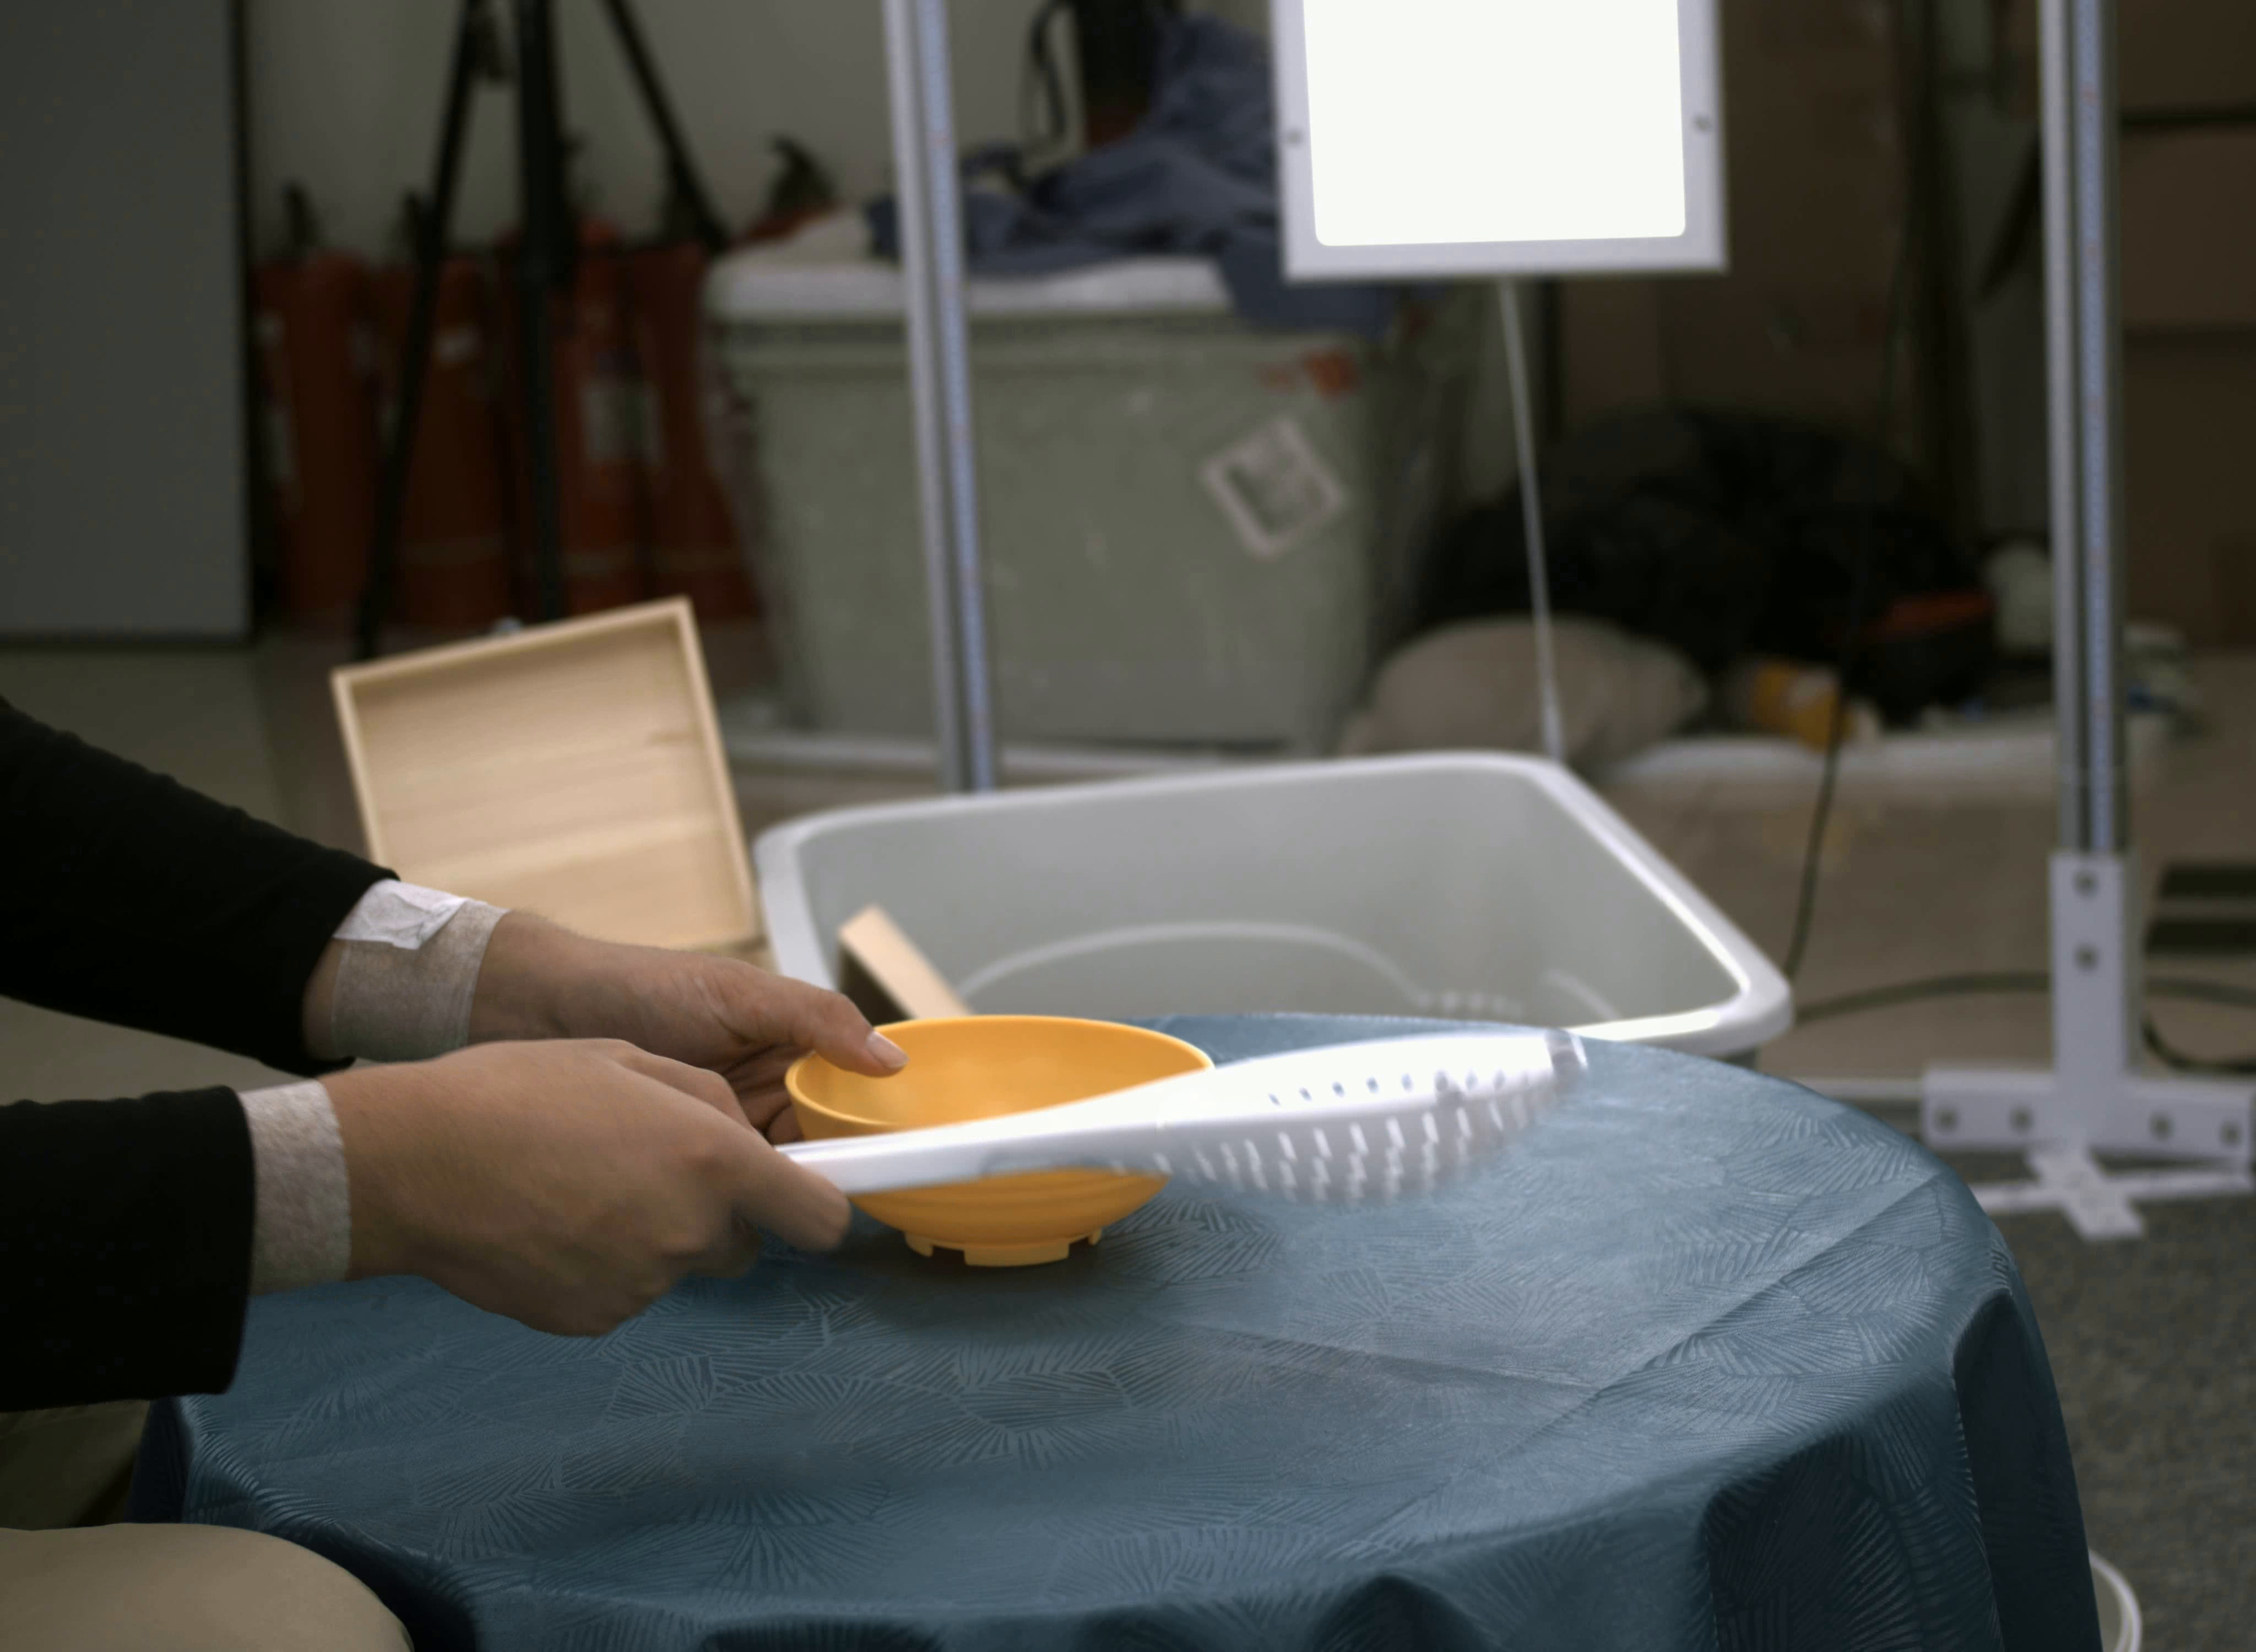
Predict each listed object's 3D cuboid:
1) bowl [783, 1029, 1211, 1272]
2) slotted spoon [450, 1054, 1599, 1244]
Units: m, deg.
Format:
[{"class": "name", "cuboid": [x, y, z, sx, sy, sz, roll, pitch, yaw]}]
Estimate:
[{"class": "bowl", "cuboid": [-0.044, 0.112, 1.848, 0.145, 0.060, 0.145, -1, 12, -1]}, {"class": "slotted spoon", "cuboid": [-0.030, 0.100, 1.669, 0.347, 0.046, 0.136, -1, 7, -4]}]
